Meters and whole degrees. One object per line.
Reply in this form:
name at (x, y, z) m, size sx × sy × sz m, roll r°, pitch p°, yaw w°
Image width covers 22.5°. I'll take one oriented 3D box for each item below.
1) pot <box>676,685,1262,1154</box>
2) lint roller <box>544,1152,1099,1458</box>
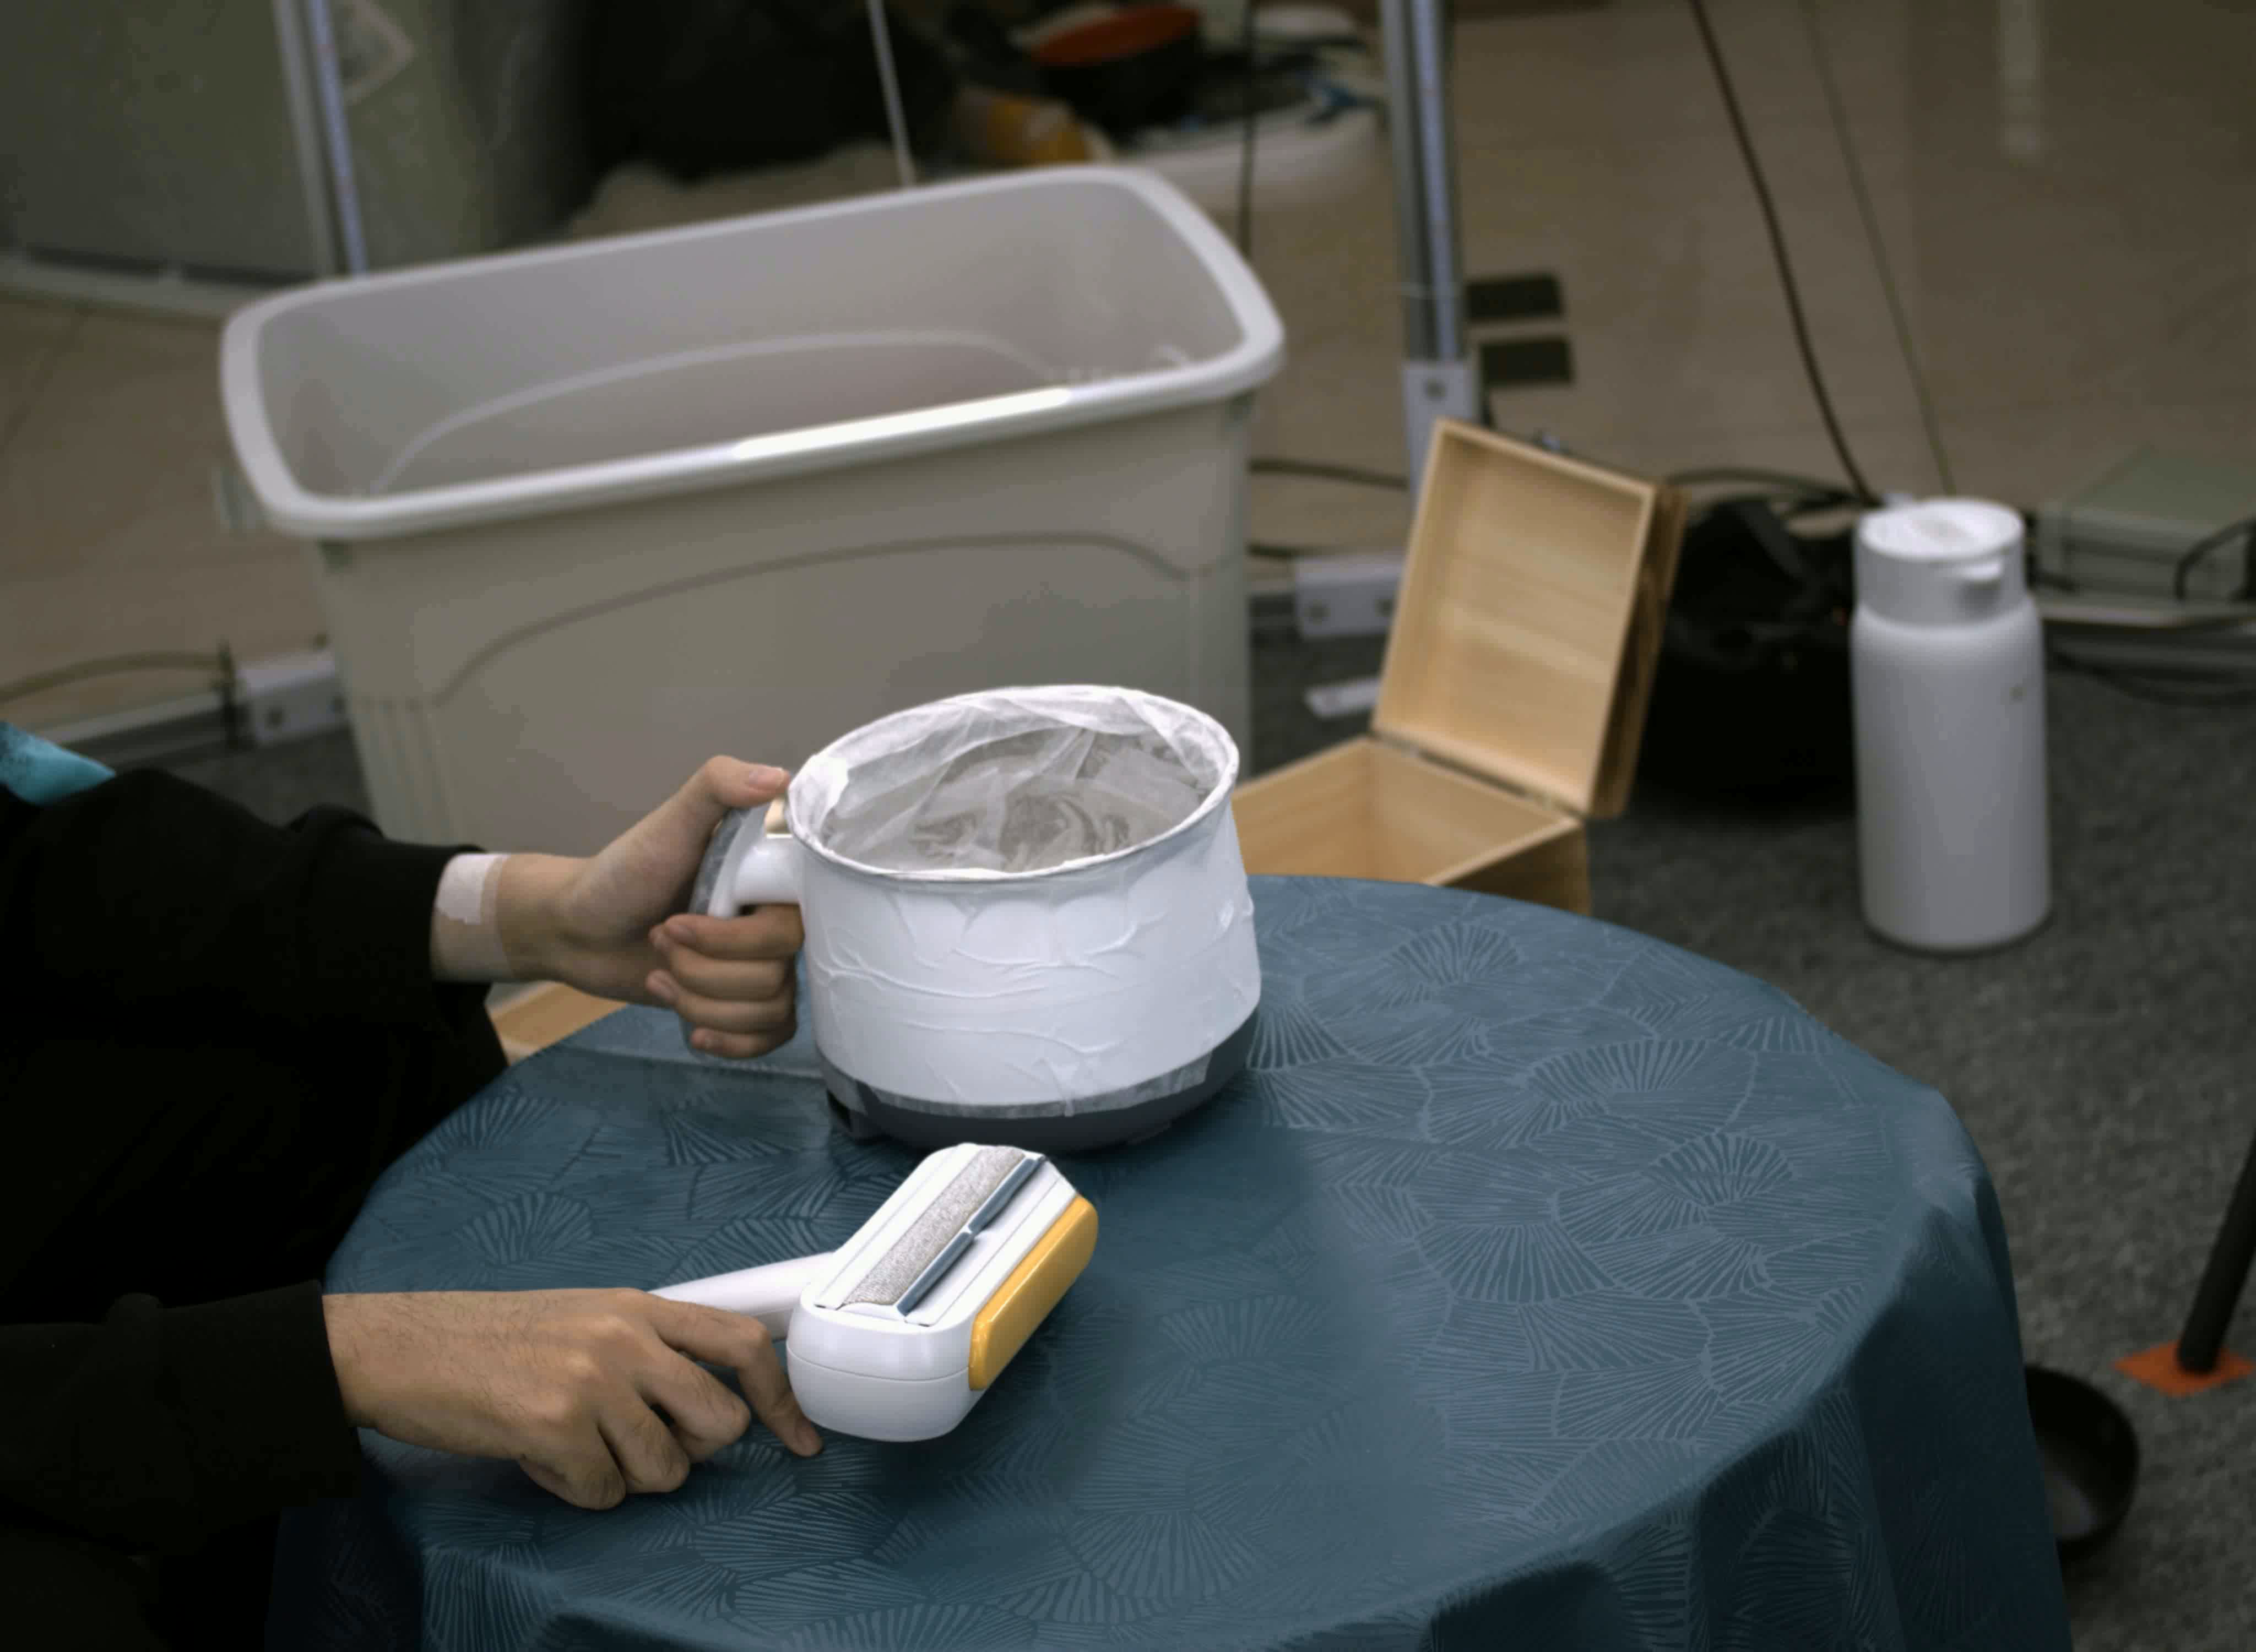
pot at (-0.065, 0.038, 2.208) m, size 0.233 × 0.139 × 0.176 m, roll -1°, pitch 24°, yaw 9°
lint roller at (-0.122, 0.172, 2.024) m, size 0.192 × 0.075 × 0.190 m, roll 1°, pitch 21°, yaw 20°
